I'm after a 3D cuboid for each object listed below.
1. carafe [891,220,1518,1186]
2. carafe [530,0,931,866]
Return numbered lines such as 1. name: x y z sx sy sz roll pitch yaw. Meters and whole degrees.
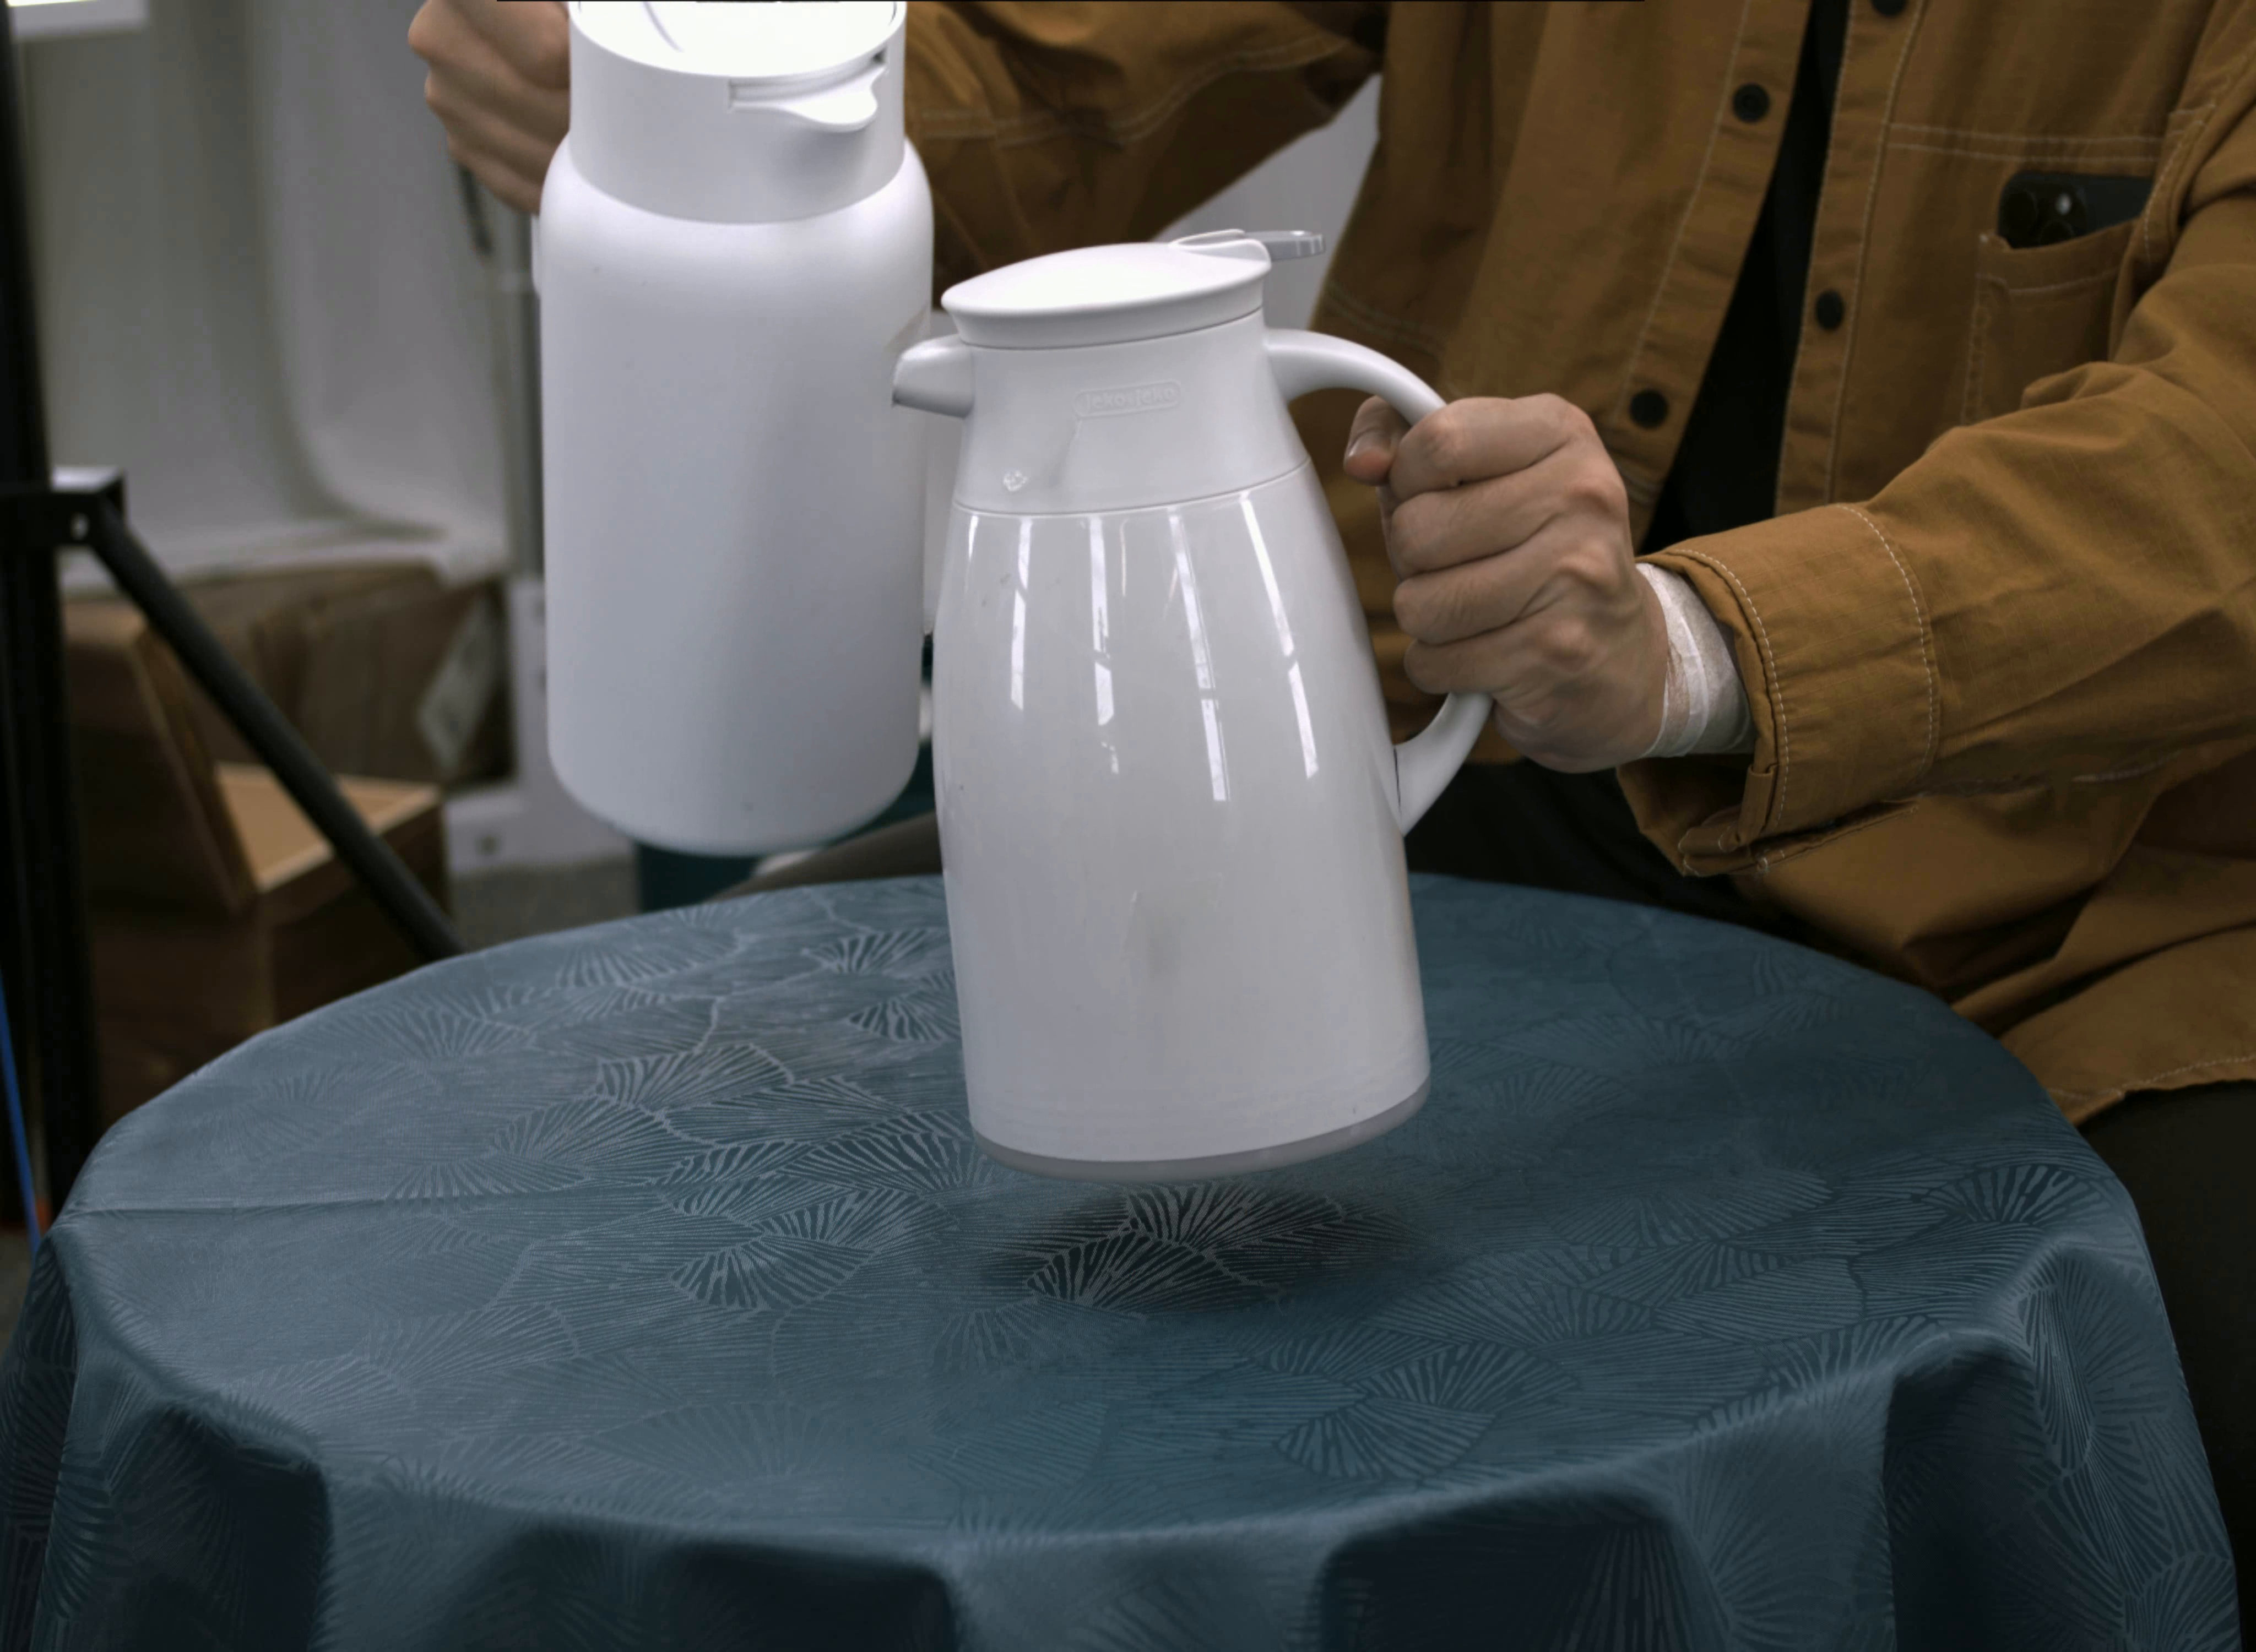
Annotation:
1. carafe: 0.027 -0.041 1.477 0.166 0.248 0.133 -6 13 -2
2. carafe: -0.131 -0.135 1.627 0.121 0.268 0.177 -18 37 -28
